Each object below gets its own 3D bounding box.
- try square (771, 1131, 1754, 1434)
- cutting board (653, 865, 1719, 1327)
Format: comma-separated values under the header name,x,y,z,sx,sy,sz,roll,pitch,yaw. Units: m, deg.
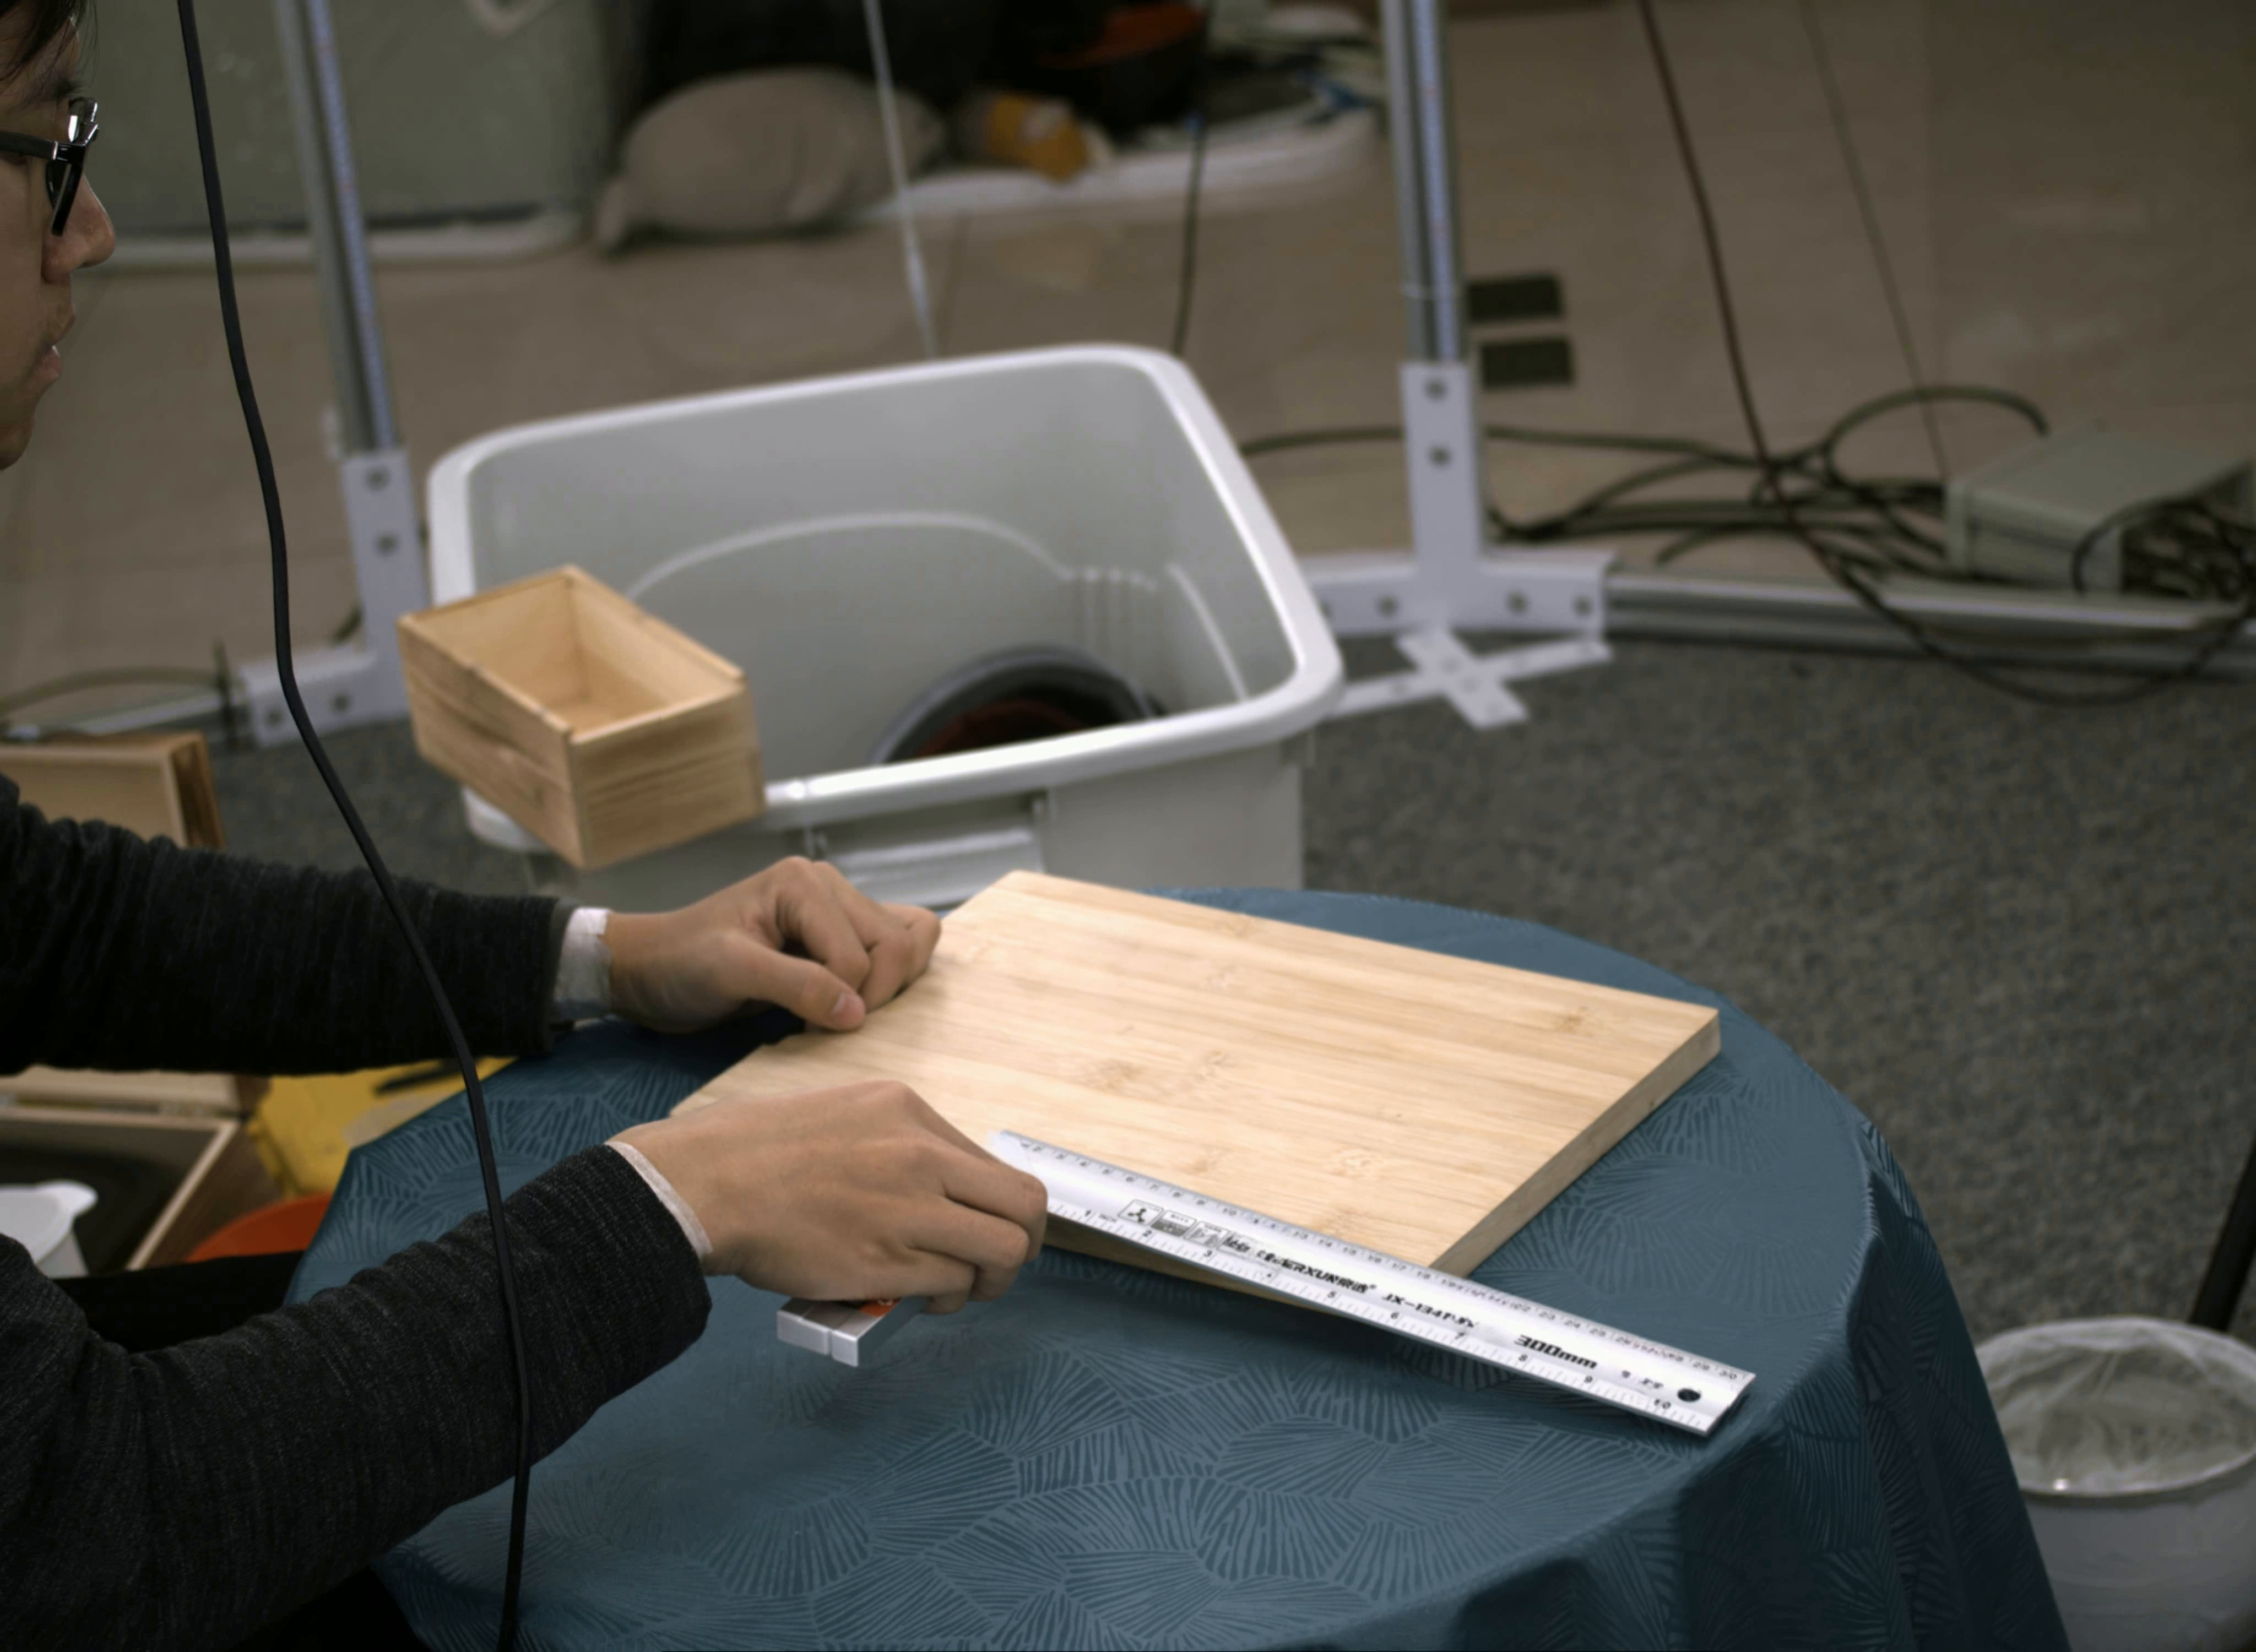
name,x,y,z,sx,sy,sz,roll,pitch,yaw
try square,0.045,0.182,1.981,0.311,0.016,0.150,17,32,26
cutting board,0.022,0.099,2.209,0.347,0.024,0.248,11,30,32
